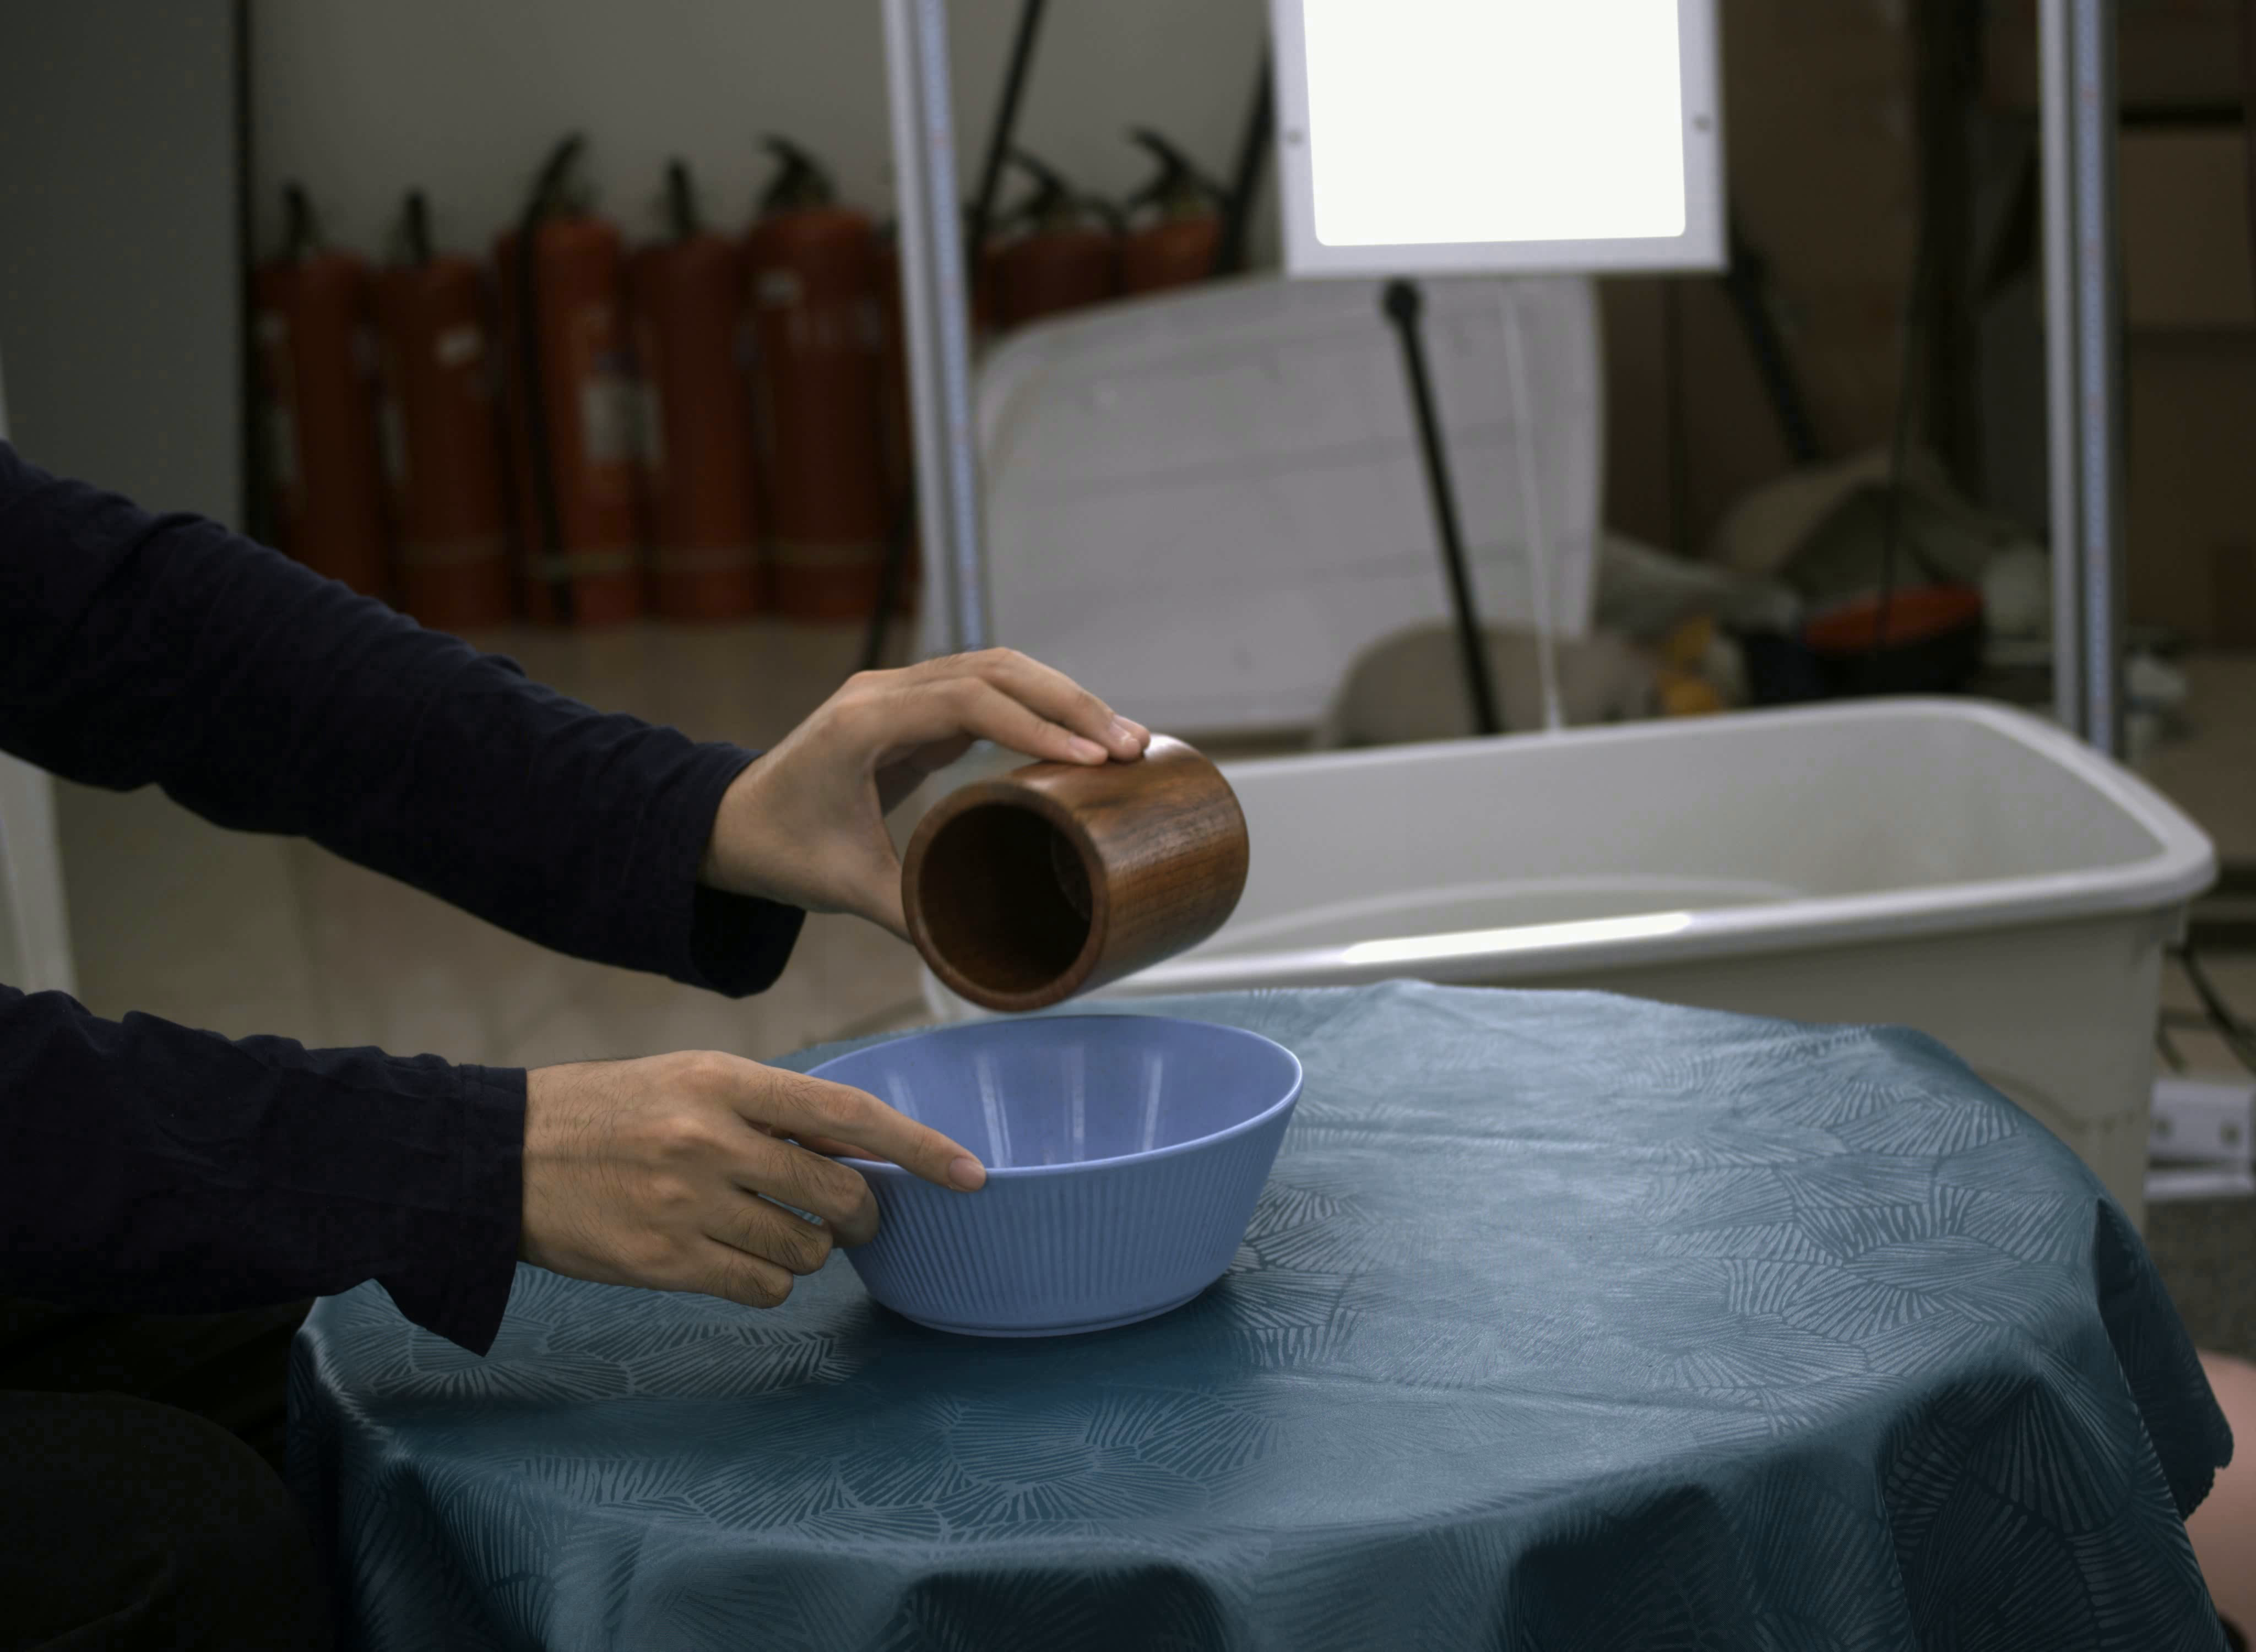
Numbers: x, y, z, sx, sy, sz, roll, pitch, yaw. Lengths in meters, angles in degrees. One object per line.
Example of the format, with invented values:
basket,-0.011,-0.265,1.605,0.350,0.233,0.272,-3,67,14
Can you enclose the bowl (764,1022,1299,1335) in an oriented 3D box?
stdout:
bowl,-0.029,0.117,1.800,0.175,0.070,0.176,-6,13,0

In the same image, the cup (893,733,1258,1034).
cup,-0.016,0.019,1.867,0.089,0.088,0.115,4,13,30
